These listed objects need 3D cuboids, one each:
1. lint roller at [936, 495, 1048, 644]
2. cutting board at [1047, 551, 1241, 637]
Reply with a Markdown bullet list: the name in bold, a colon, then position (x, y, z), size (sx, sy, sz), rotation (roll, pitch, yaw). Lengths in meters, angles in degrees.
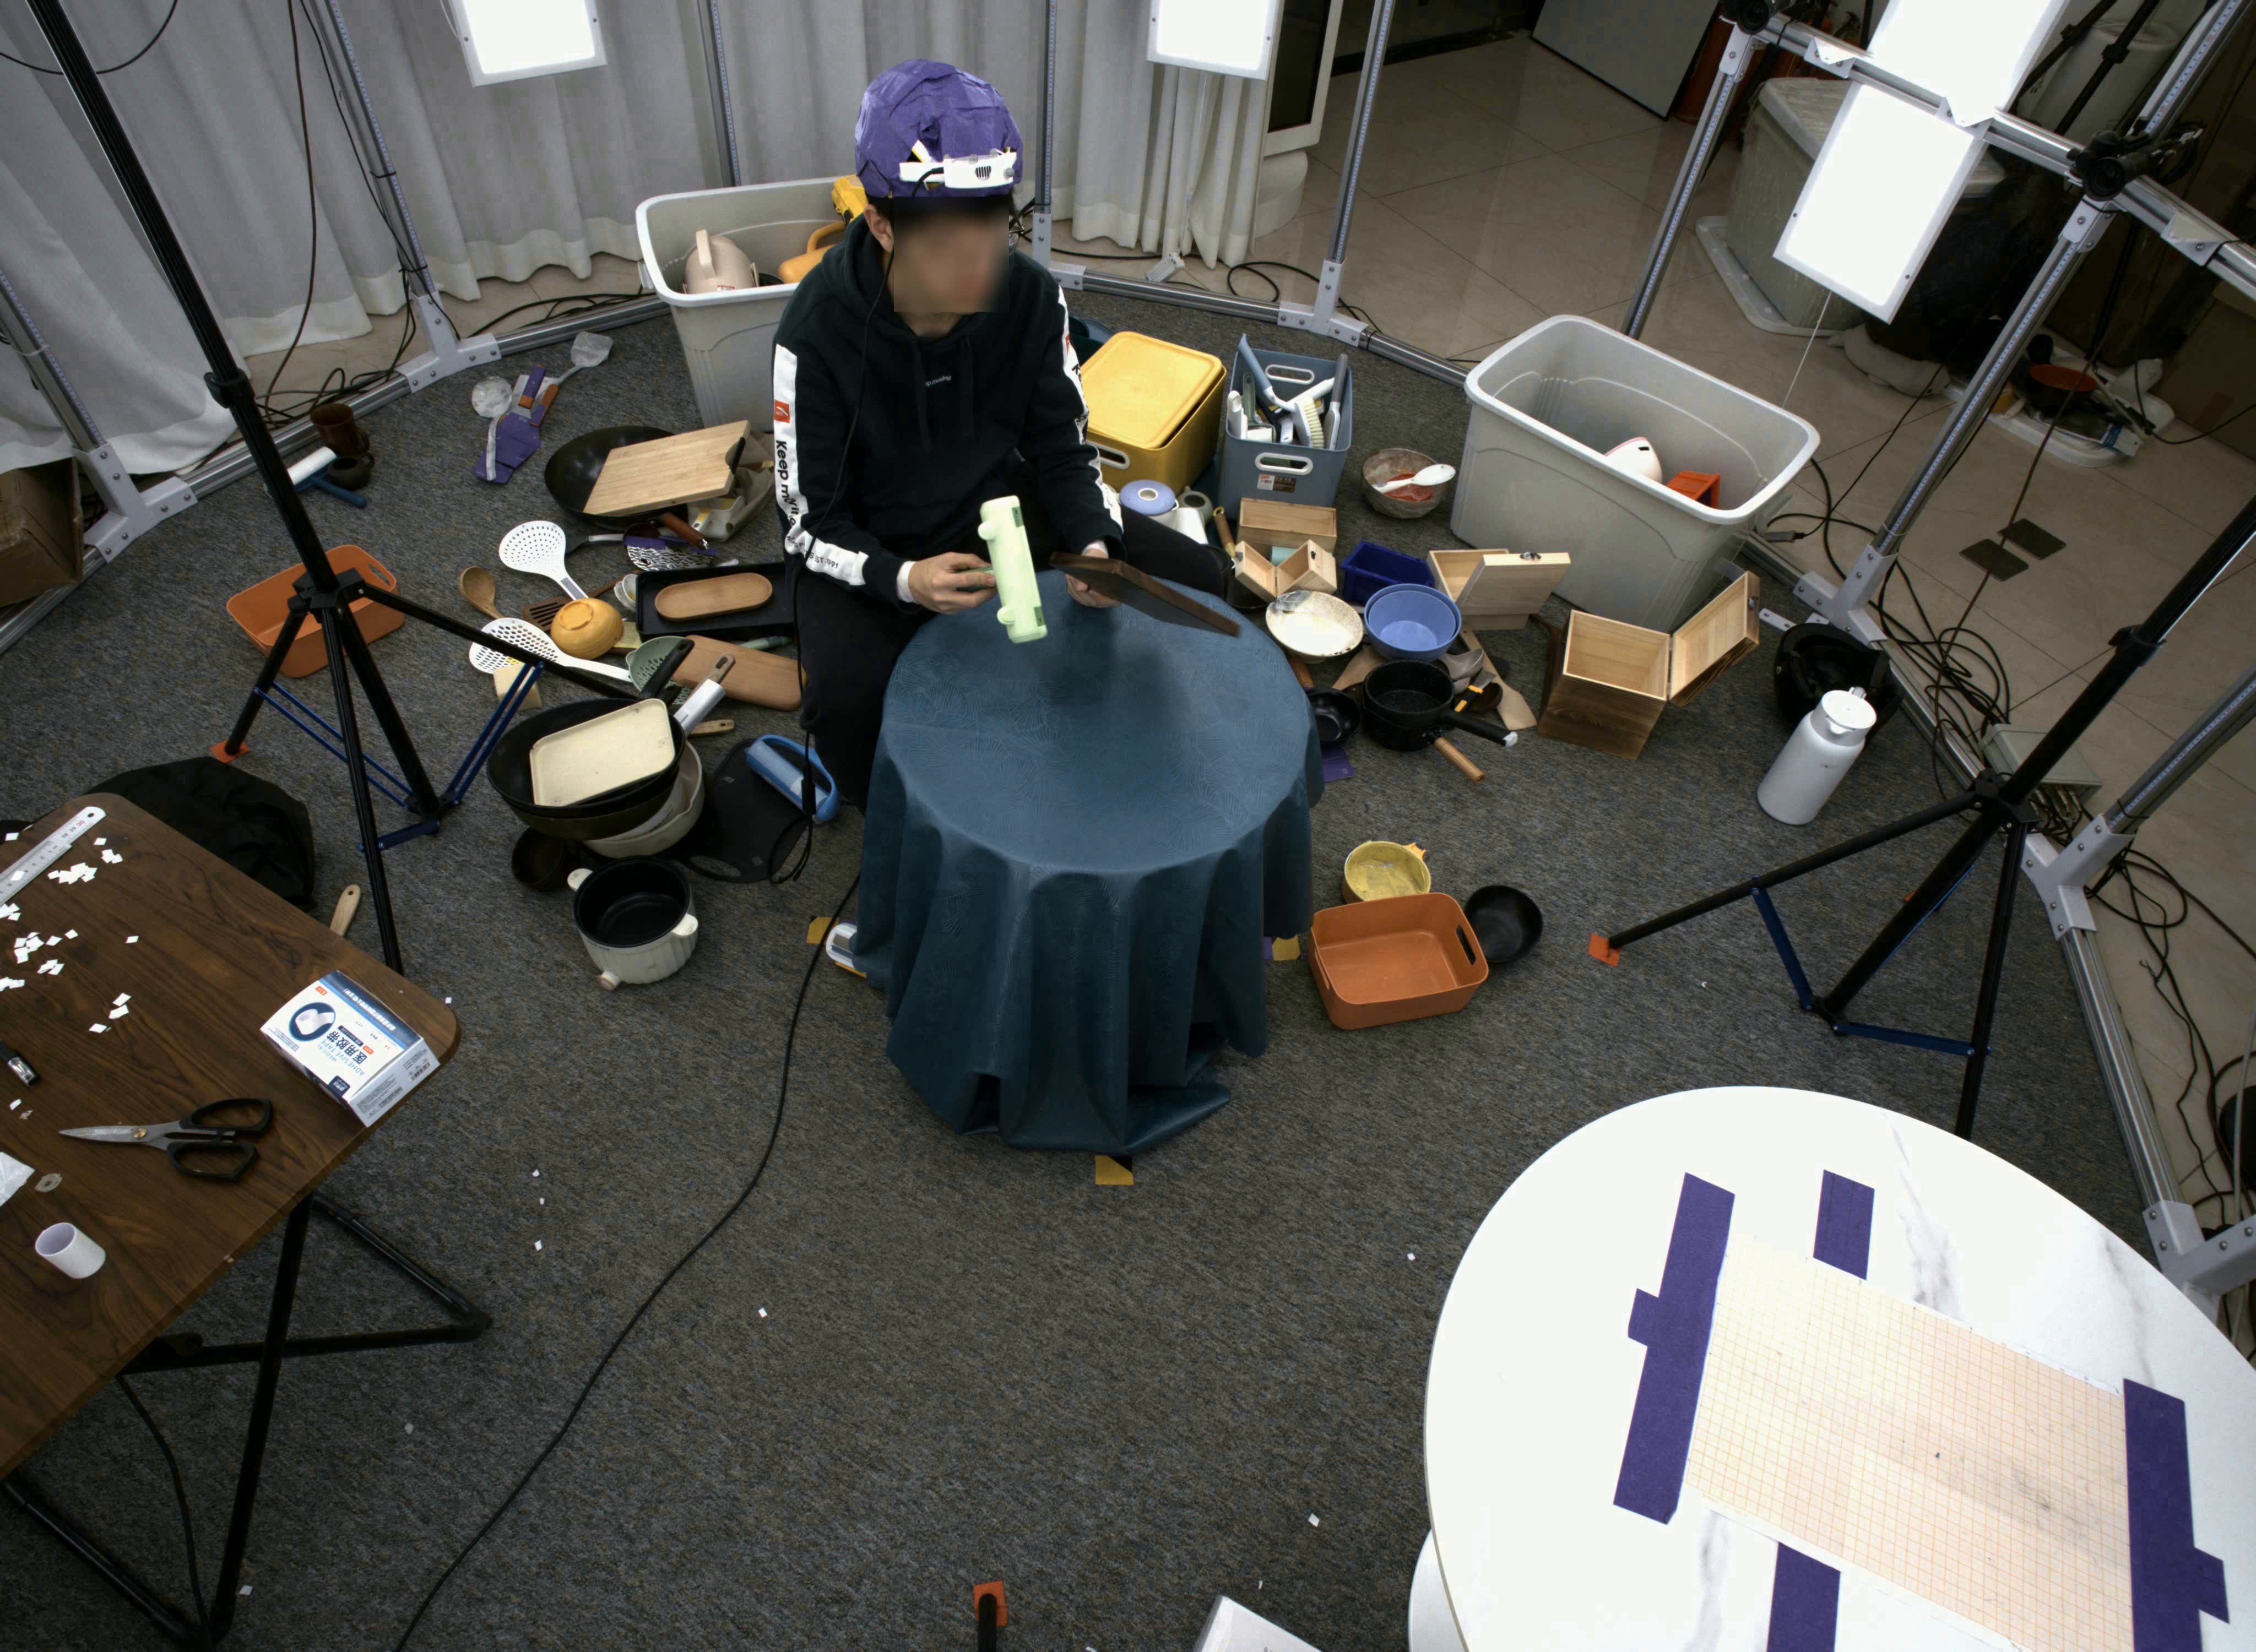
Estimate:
- **lint roller**: position (-0.207, -0.342, 1.787), size (0.183, 0.197, 0.082), rotation (-8, 8, 28)
- **cutting board**: position (-0.002, -0.325, 1.775), size (0.199, 0.023, 0.356), rotation (23, 3, -26)
